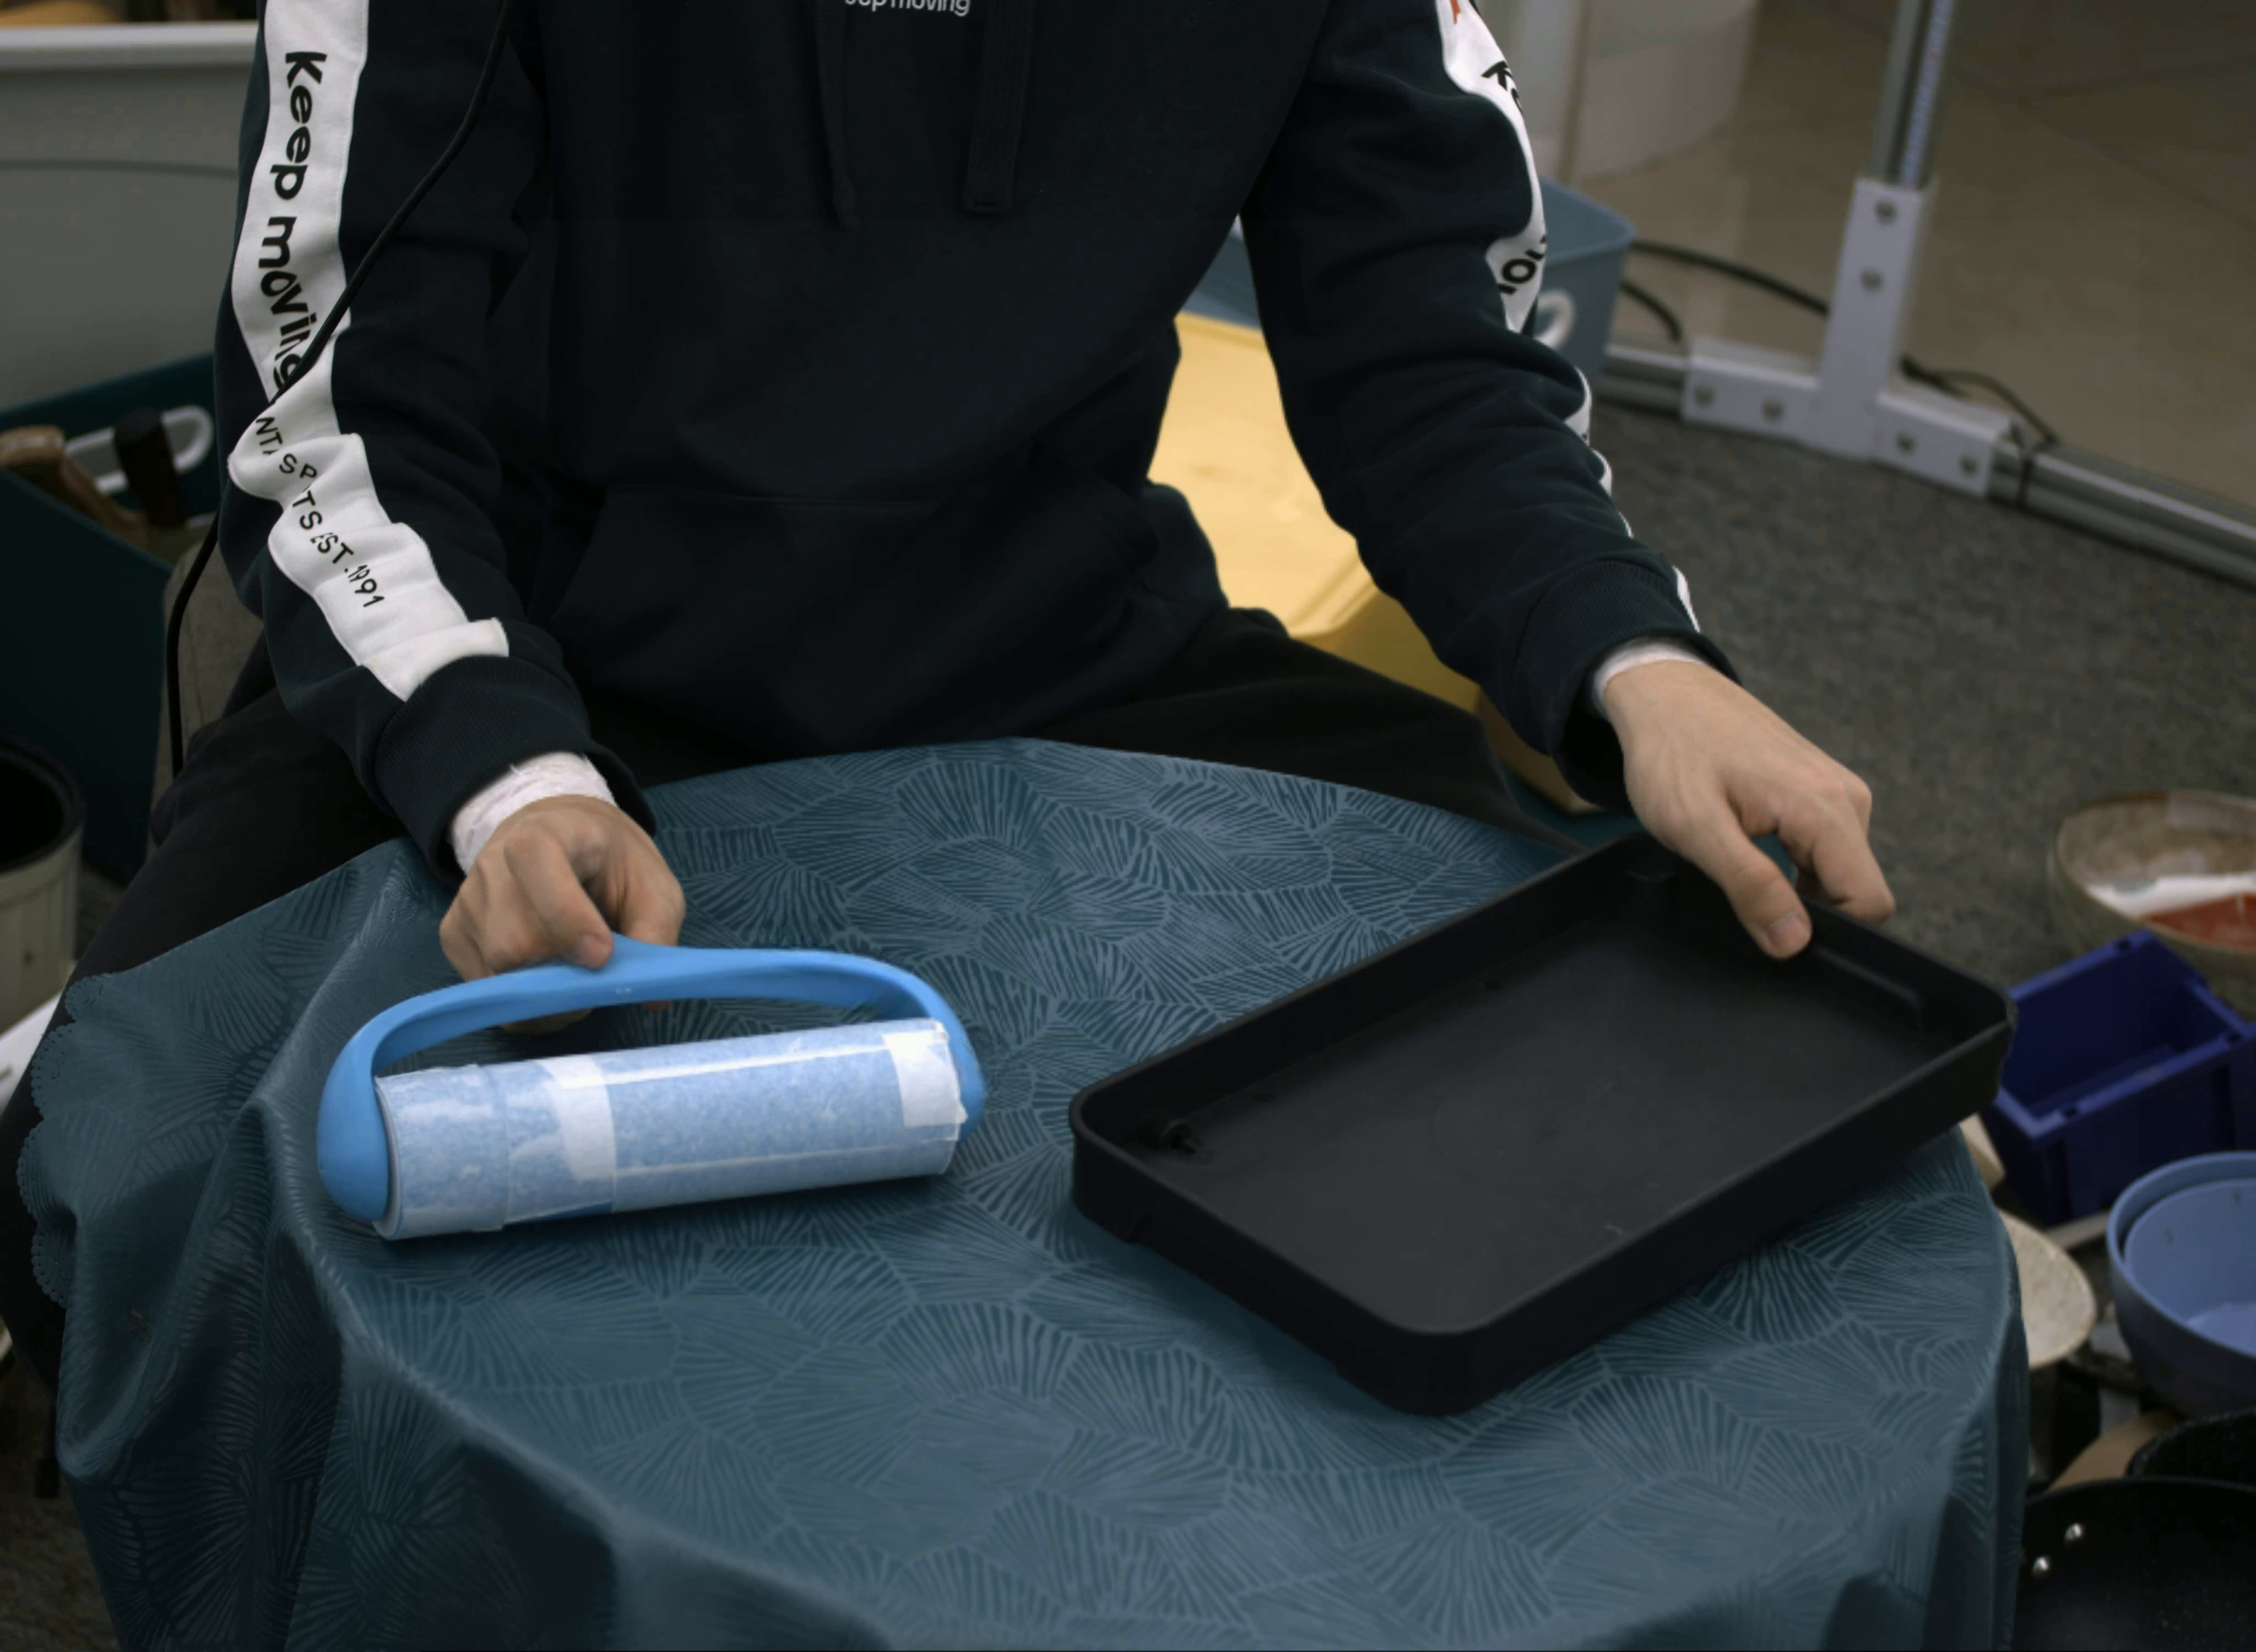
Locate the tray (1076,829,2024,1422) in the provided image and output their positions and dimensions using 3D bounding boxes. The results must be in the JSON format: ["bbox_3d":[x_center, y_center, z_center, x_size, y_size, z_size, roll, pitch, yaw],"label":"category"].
[{"bbox_3d":[0.148,0.096,1.830,0.185,0.037,0.317,26,37,37],"label":"tray"}]

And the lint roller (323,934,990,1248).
[{"bbox_3d":[-0.178,0.071,1.799,0.227,0.067,0.182,-9,31,-23],"label":"lint roller"}]
